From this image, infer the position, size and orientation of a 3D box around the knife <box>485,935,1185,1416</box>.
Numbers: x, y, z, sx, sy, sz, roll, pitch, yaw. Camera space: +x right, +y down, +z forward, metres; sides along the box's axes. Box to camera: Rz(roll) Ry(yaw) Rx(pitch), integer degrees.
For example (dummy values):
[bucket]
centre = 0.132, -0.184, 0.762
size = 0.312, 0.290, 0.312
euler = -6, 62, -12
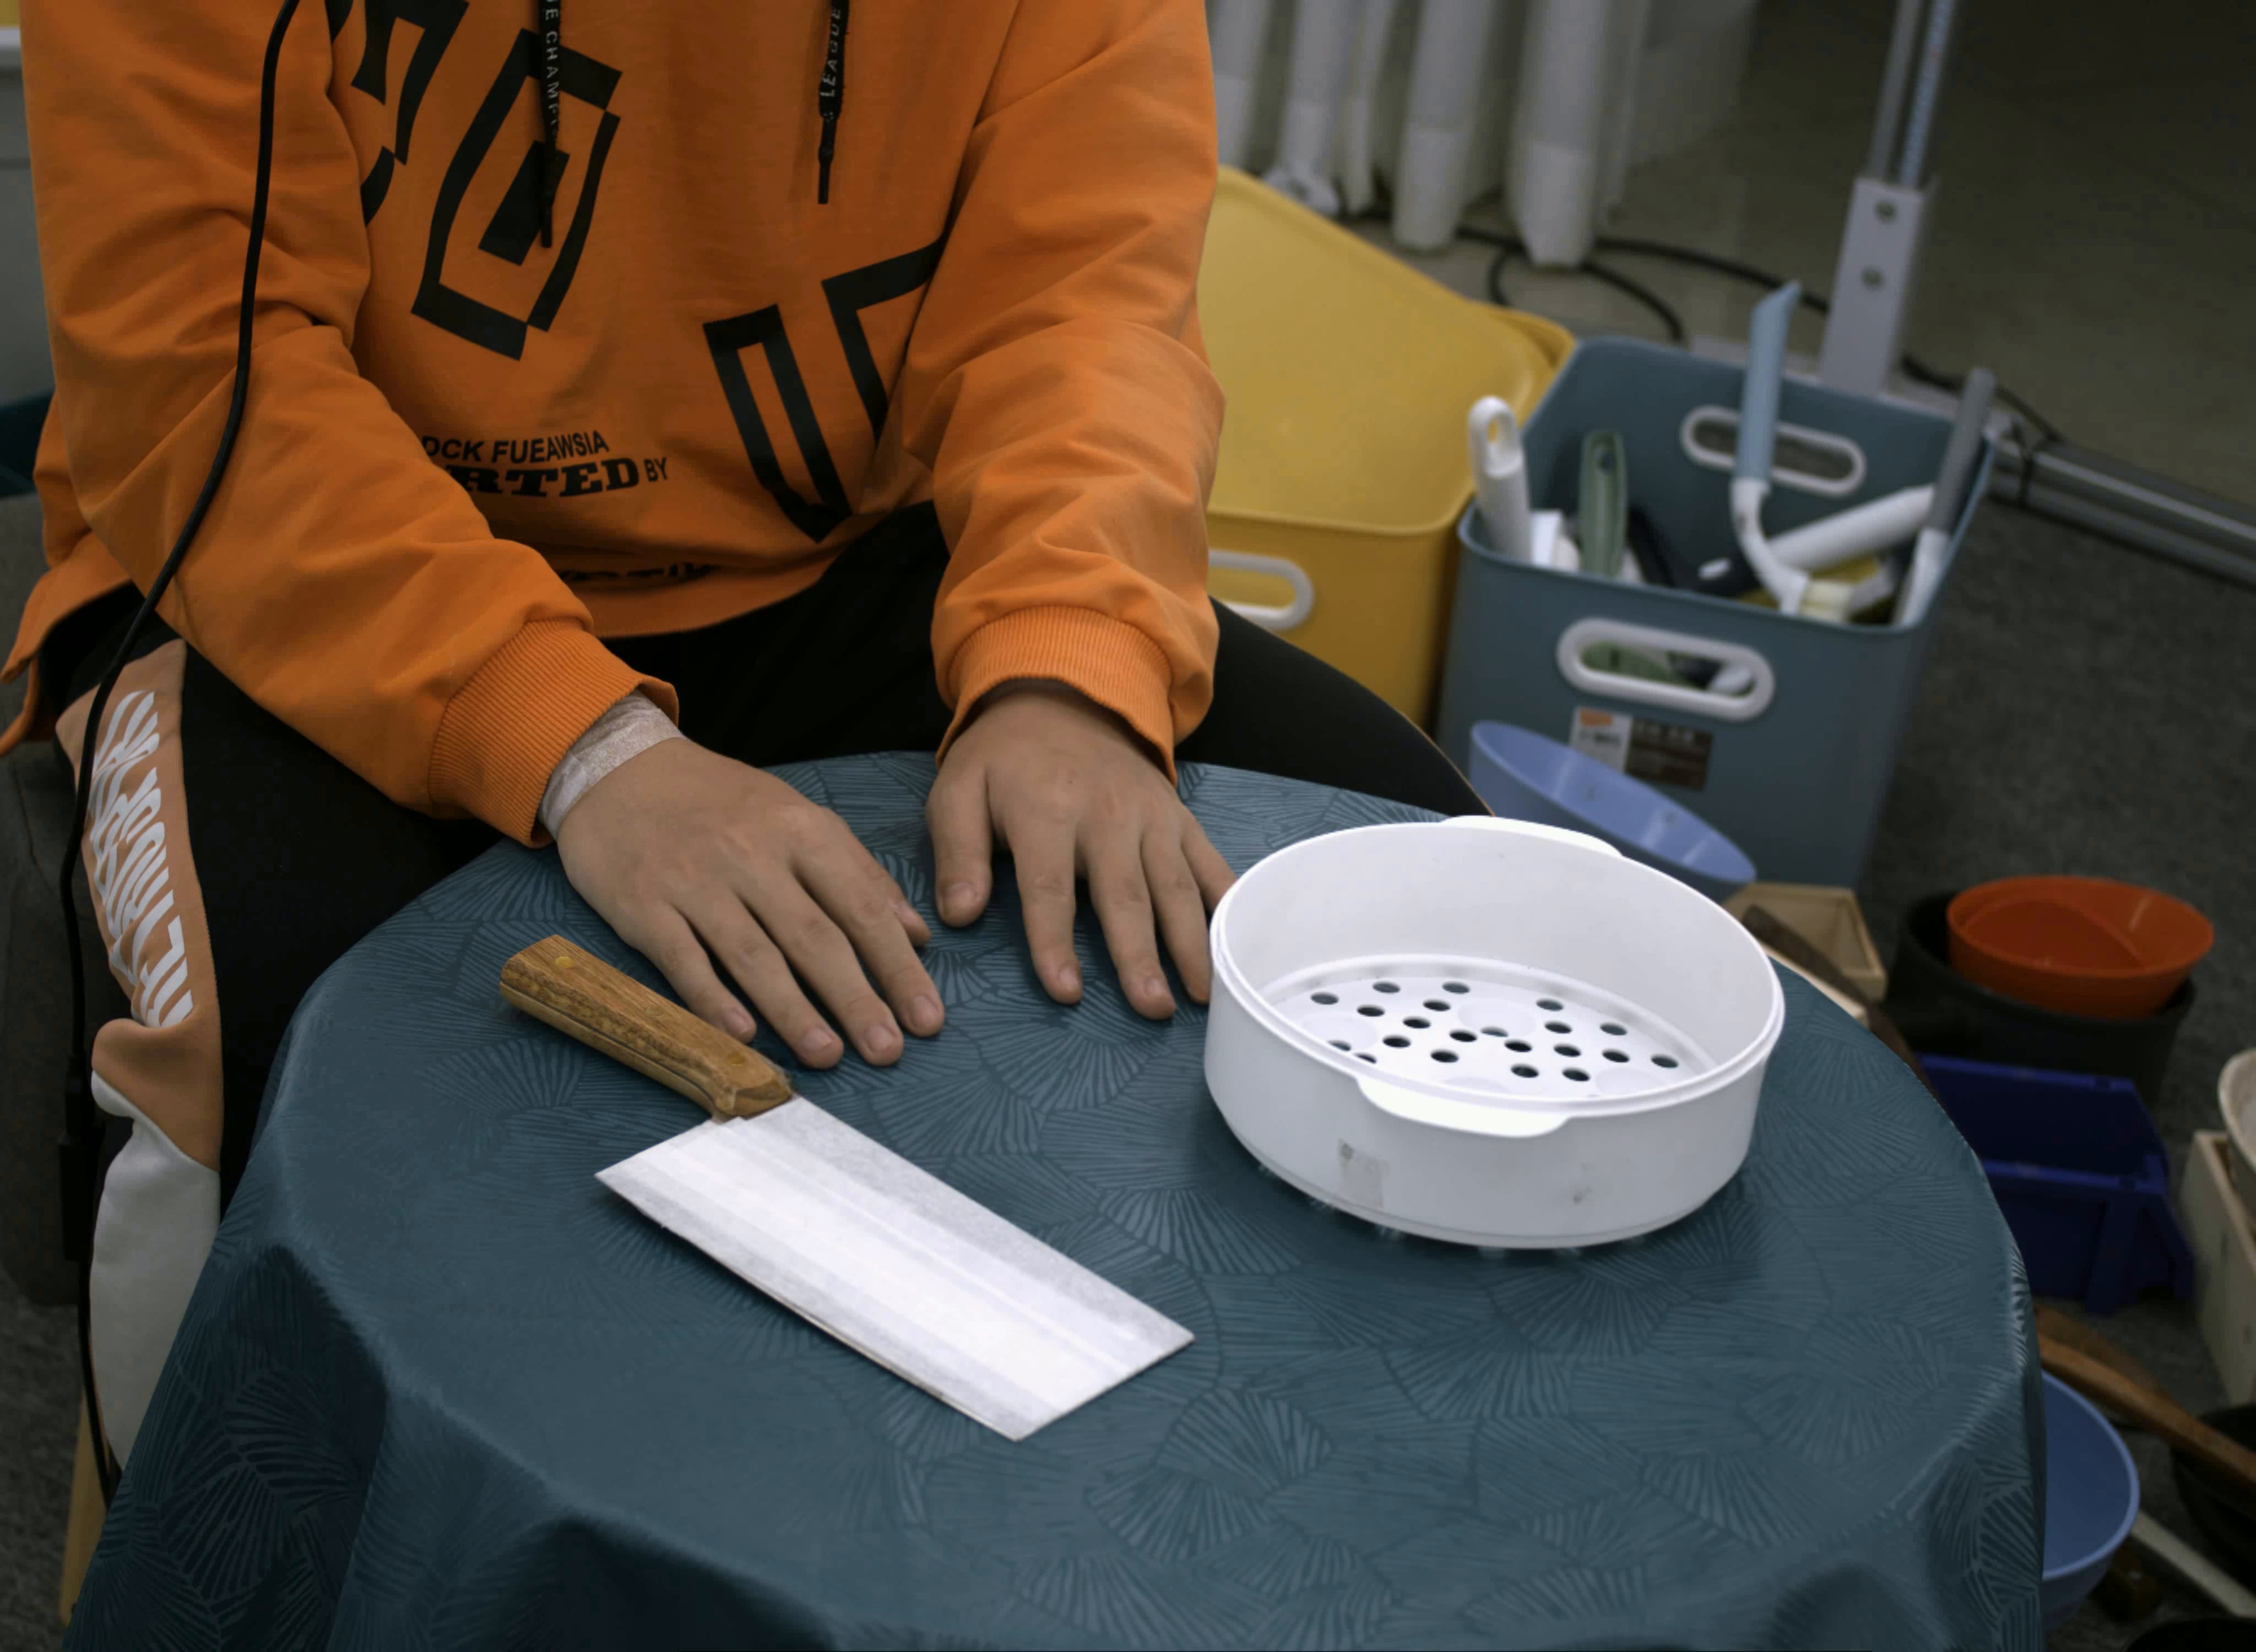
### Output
[knife]
centre = -0.119, 0.117, 1.772
size = 0.308, 0.021, 0.092
euler = 29, 36, 32

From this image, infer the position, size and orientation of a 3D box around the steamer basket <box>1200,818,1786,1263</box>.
[steamer basket]
centre = 0.125, 0.076, 1.849
size = 0.202, 0.069, 0.231
euler = 9, 29, 7
